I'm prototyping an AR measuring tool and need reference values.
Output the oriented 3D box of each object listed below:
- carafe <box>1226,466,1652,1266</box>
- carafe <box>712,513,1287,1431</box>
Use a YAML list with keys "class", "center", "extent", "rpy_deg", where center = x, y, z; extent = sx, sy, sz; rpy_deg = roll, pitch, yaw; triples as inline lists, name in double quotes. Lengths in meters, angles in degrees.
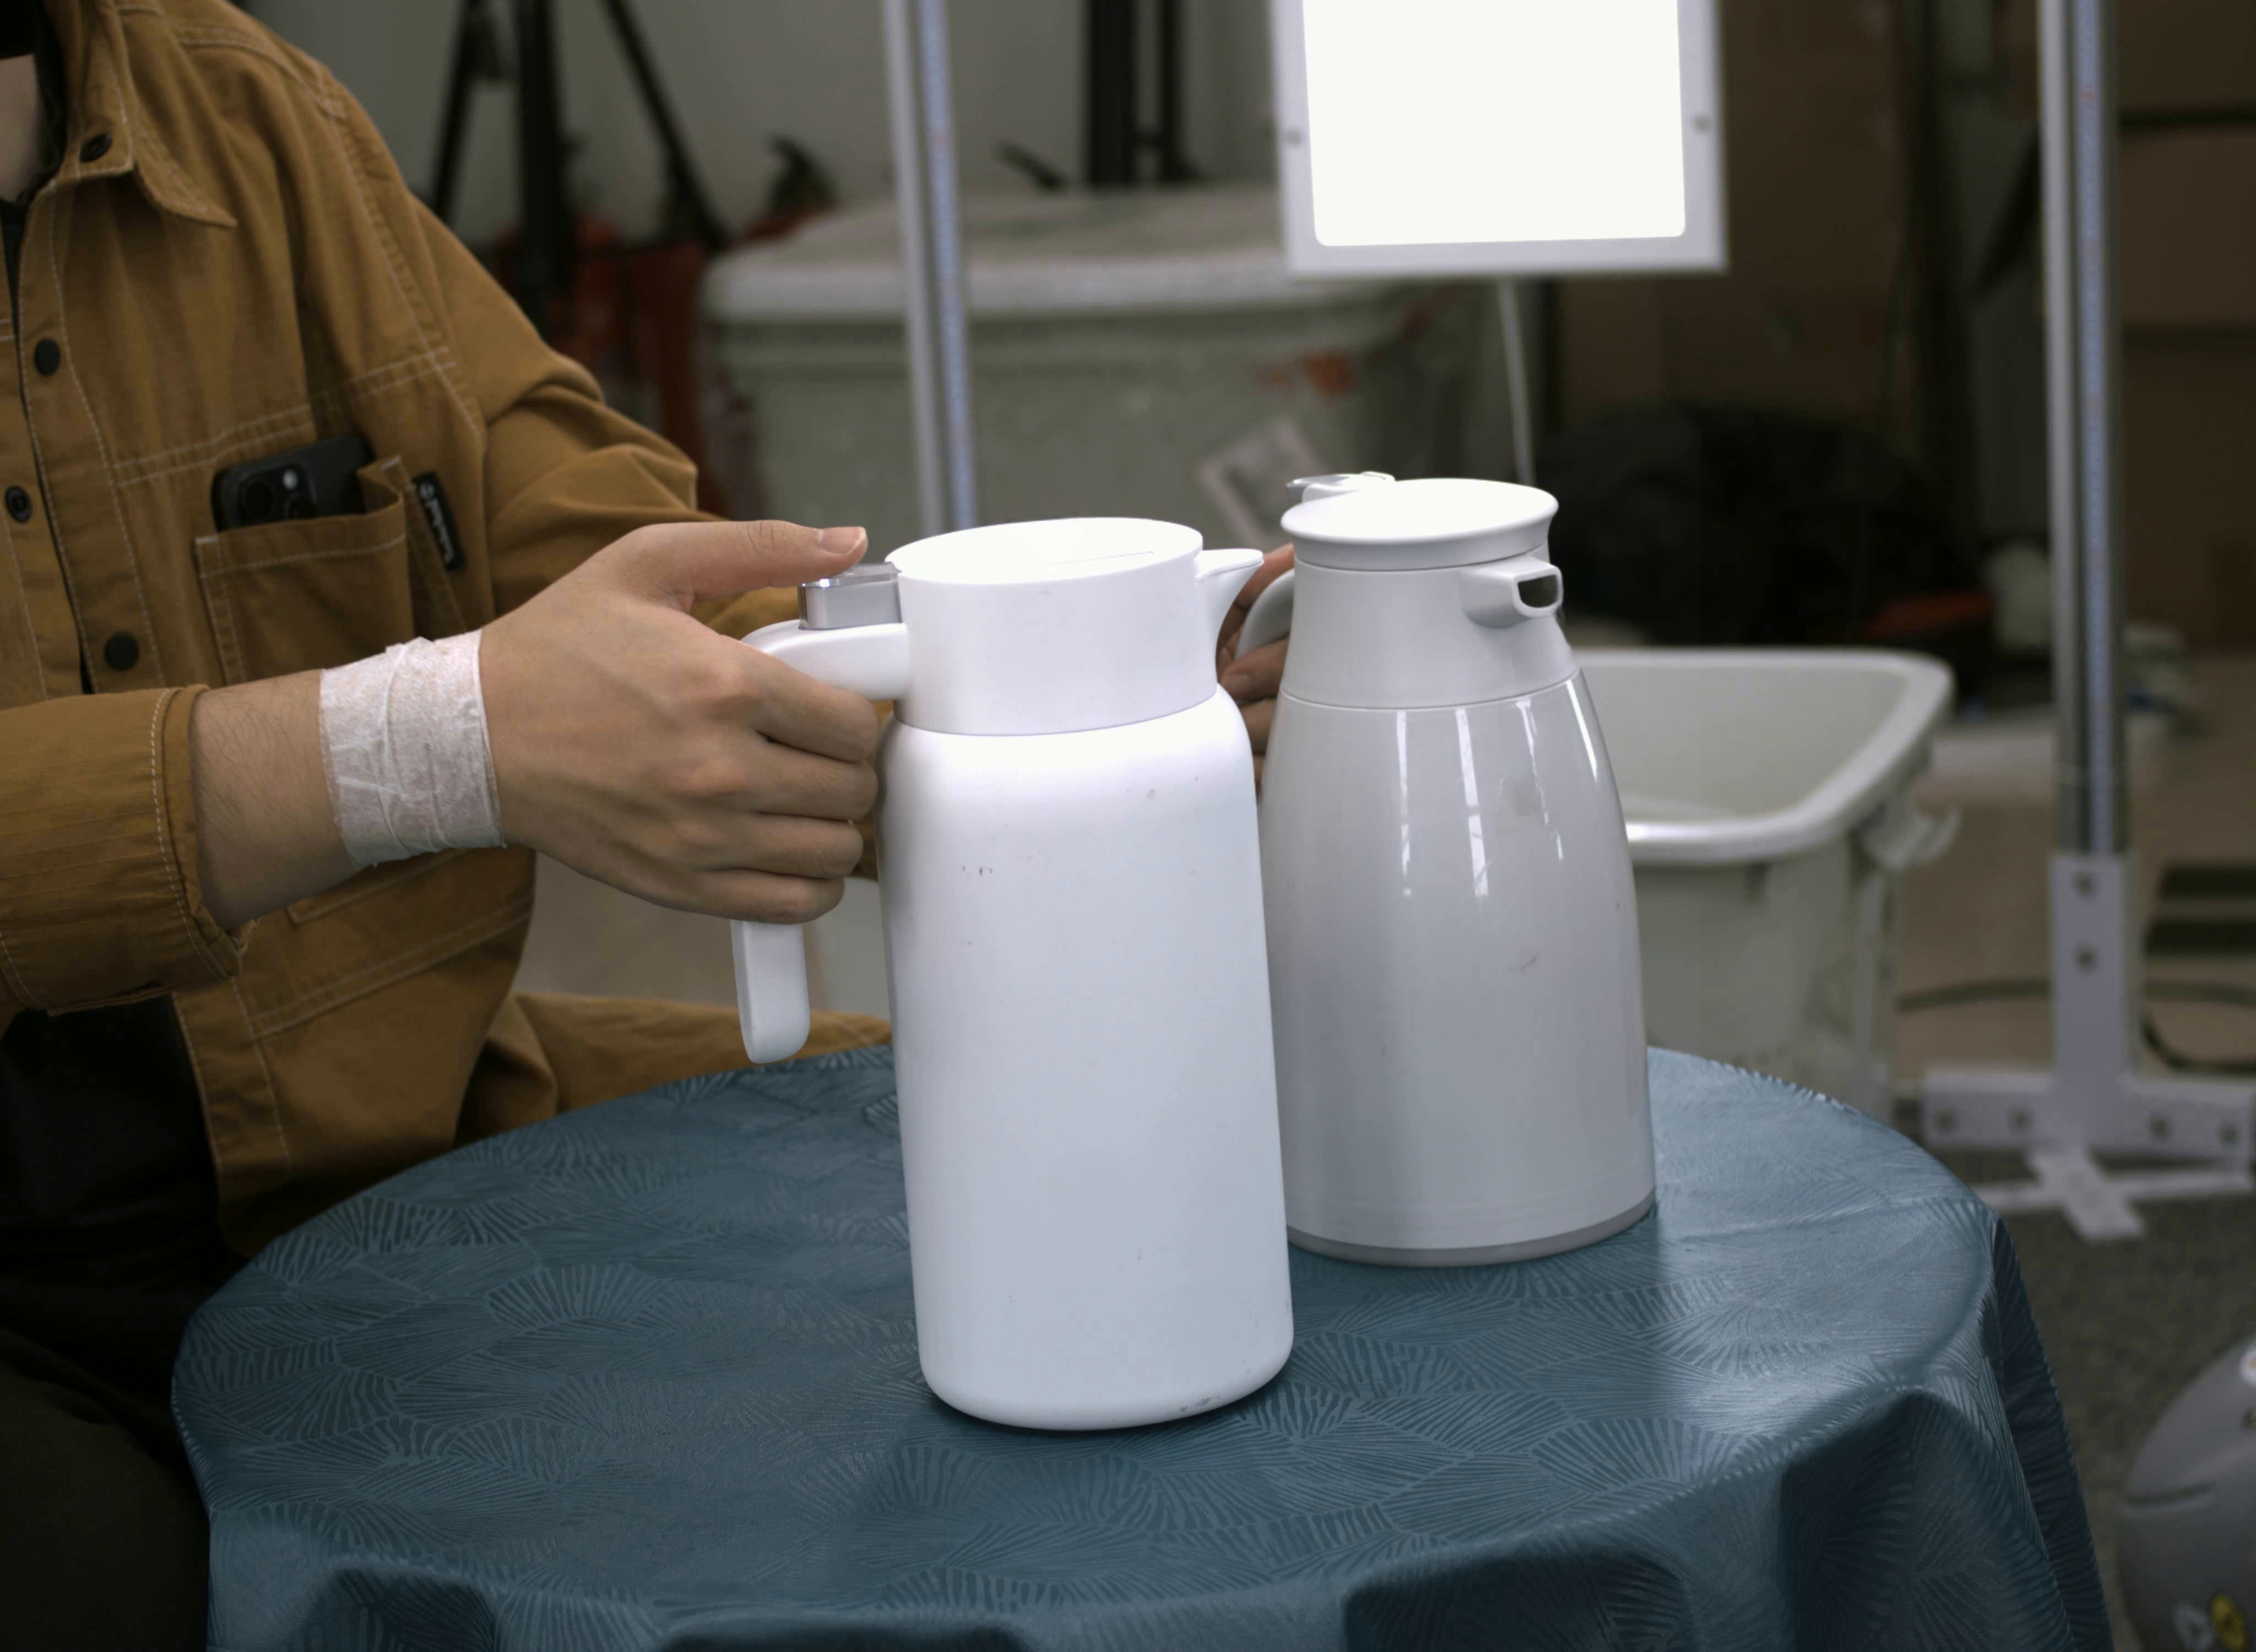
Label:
- class: "carafe"
  center: [0.091, 0.005, 1.837]
  extent: [0.129, 0.249, 0.171]
  rpy_deg: [-13, 15, -32]
- class: "carafe"
  center: [-0.033, 0.045, 1.680]
  extent: [0.171, 0.270, 0.125]
  rpy_deg: [-7, 16, -10]
